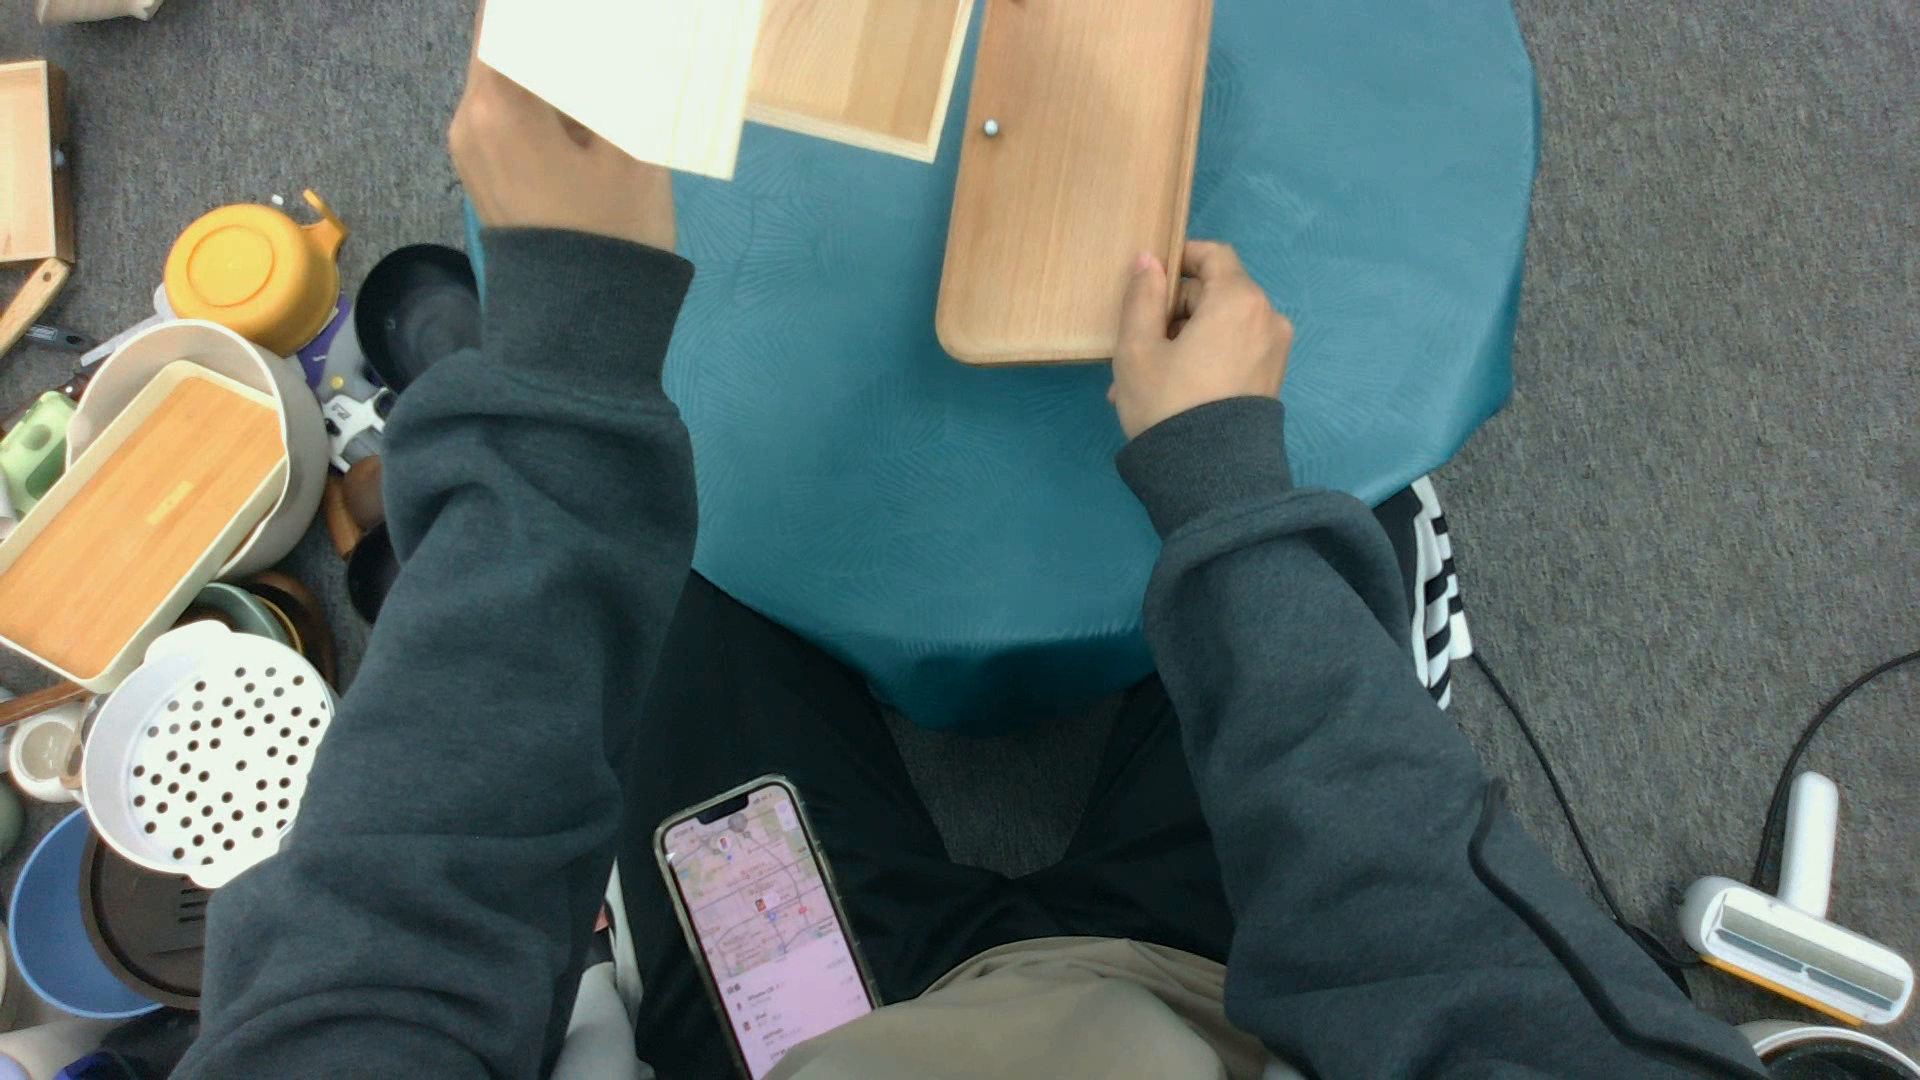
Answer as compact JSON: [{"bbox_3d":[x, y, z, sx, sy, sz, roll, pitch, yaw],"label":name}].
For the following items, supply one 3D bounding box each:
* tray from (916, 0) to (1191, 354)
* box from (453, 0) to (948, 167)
[{"bbox_3d":[0.051,-0.211,0.701,0.130,0.023,0.251,0,74,29],"label":"tray"},{"bbox_3d":[-0.064,-0.238,0.490,0.253,0.266,0.181,38,119,43],"label":"box"}]
